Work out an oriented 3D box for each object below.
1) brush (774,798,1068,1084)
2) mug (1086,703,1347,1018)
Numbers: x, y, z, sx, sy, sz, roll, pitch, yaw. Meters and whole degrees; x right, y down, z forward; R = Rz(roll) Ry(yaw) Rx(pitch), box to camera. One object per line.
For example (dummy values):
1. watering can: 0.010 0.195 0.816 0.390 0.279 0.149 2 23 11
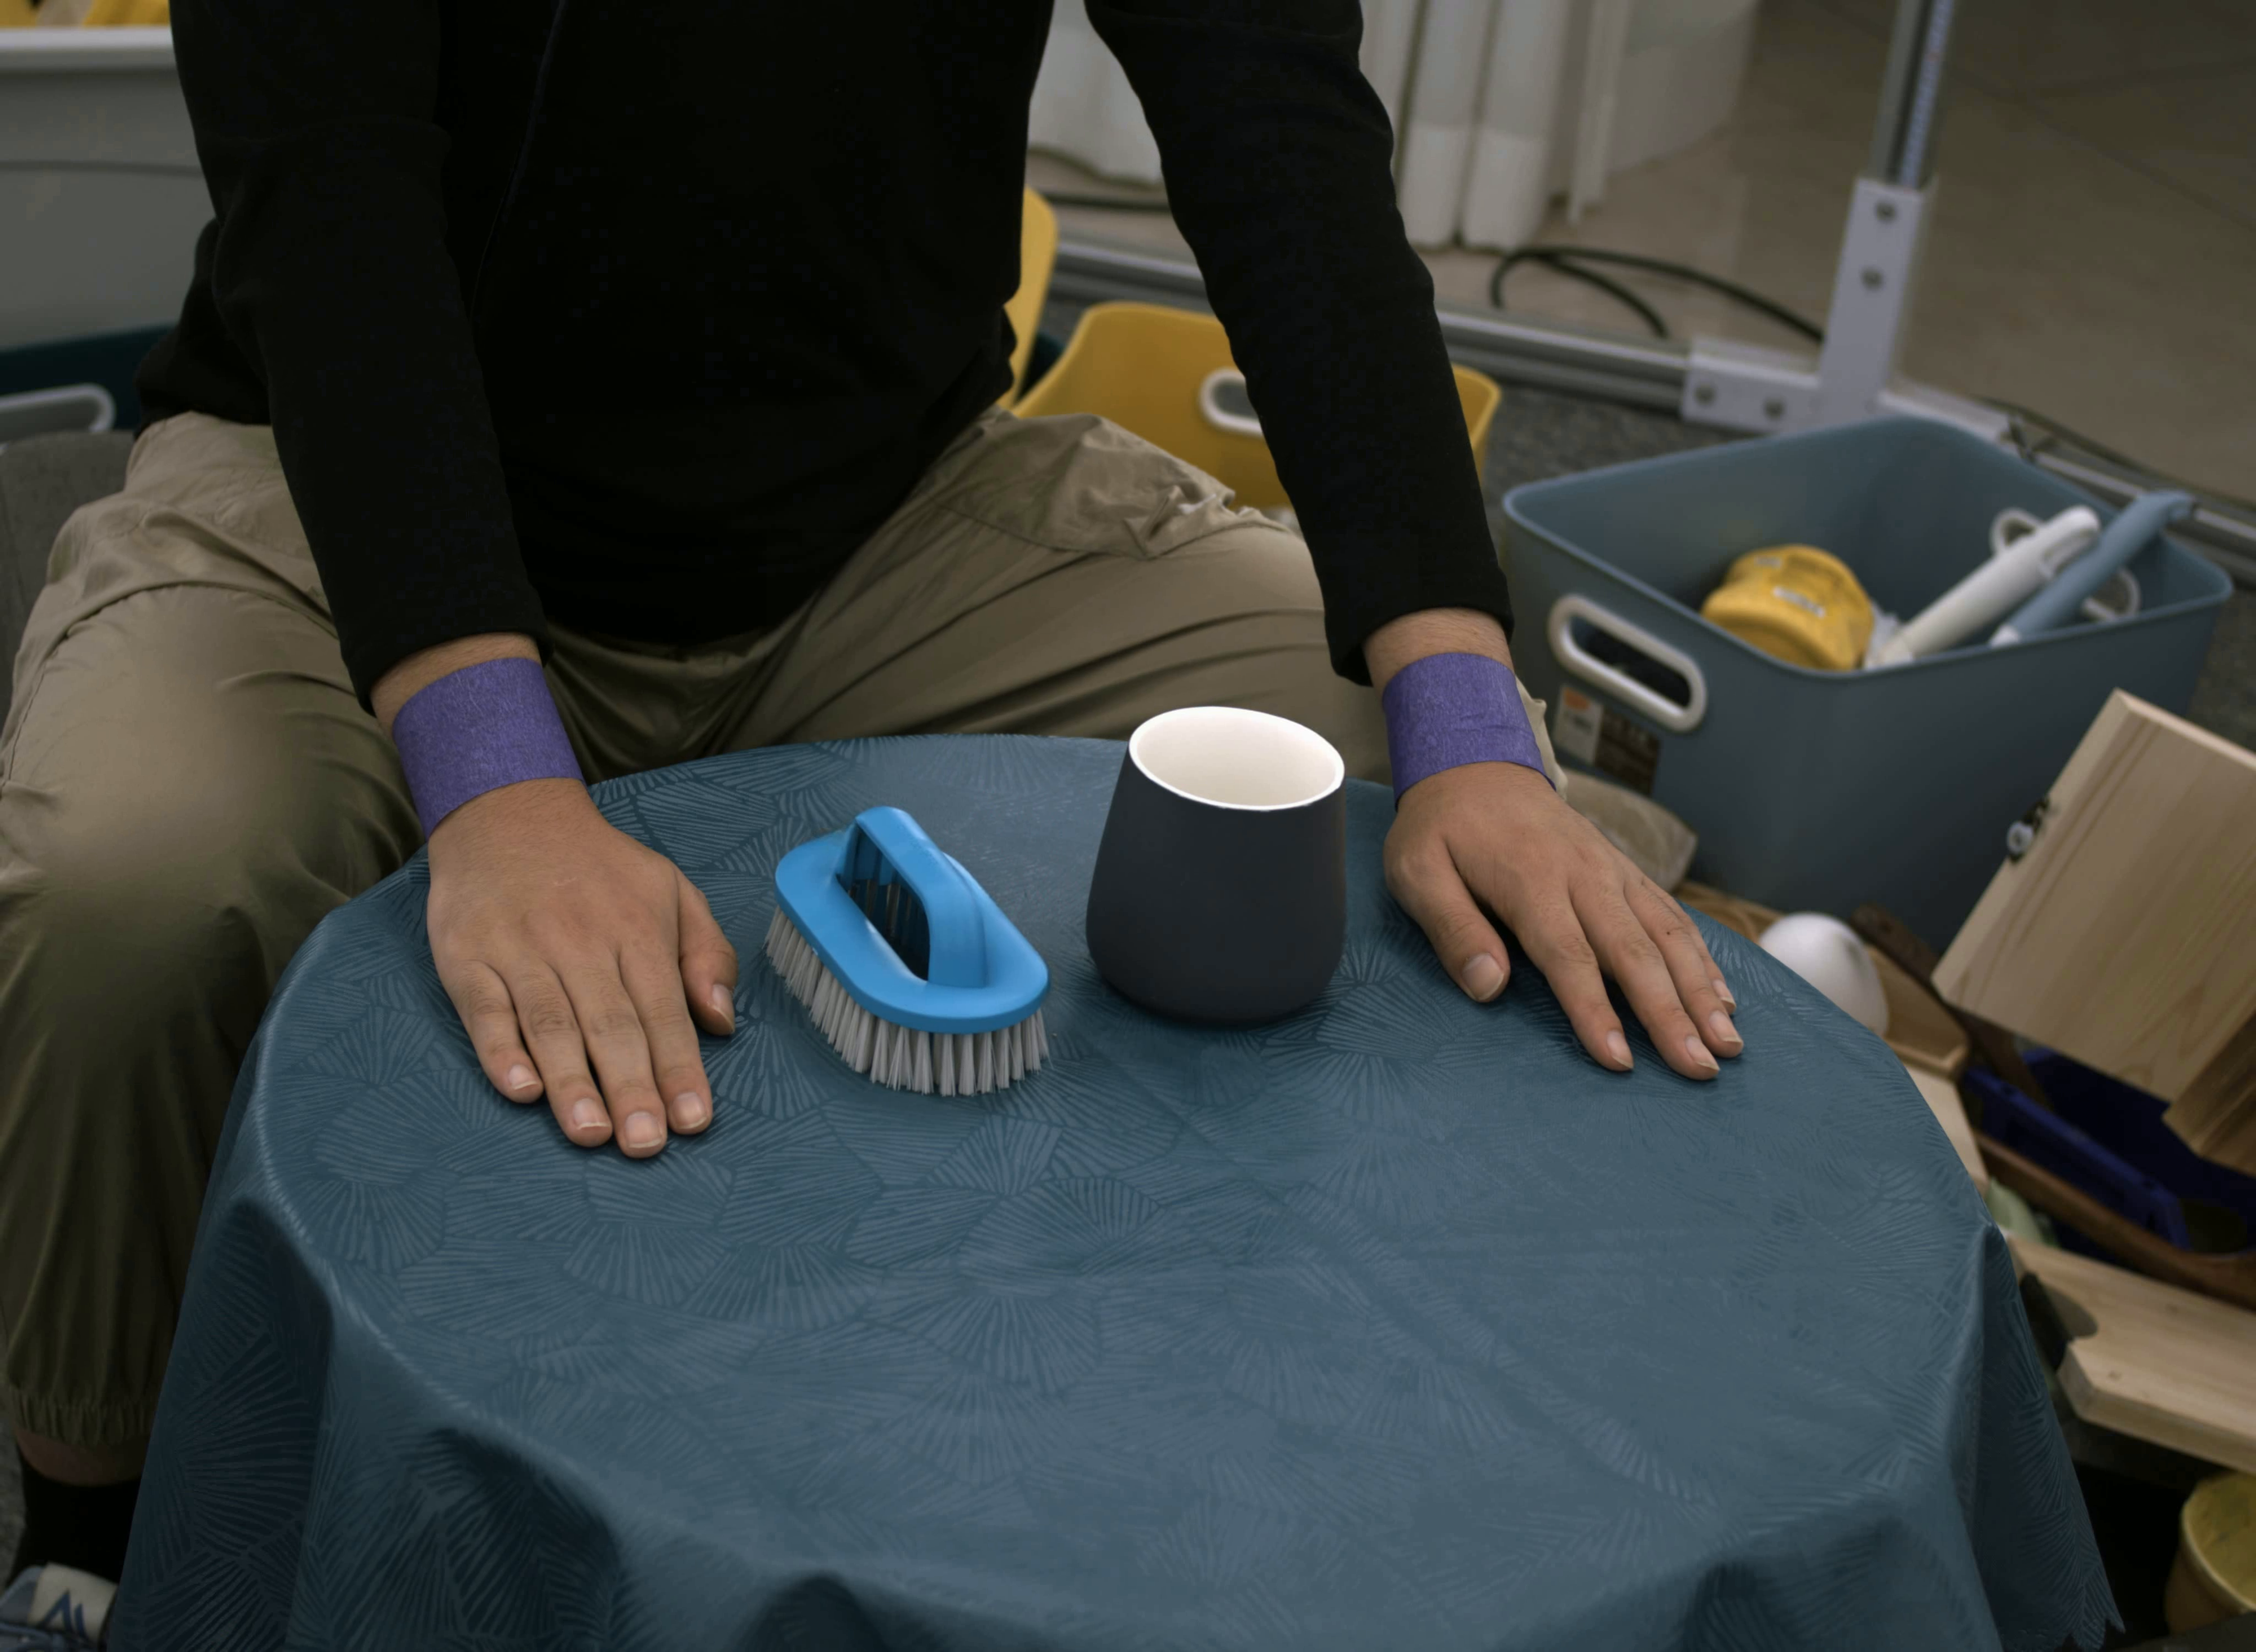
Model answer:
1. brush: -0.076 0.032 1.891 0.084 0.063 0.143 -10 30 -21
2. mug: 0.030 0.006 1.935 0.093 0.089 0.124 -2 30 -19
